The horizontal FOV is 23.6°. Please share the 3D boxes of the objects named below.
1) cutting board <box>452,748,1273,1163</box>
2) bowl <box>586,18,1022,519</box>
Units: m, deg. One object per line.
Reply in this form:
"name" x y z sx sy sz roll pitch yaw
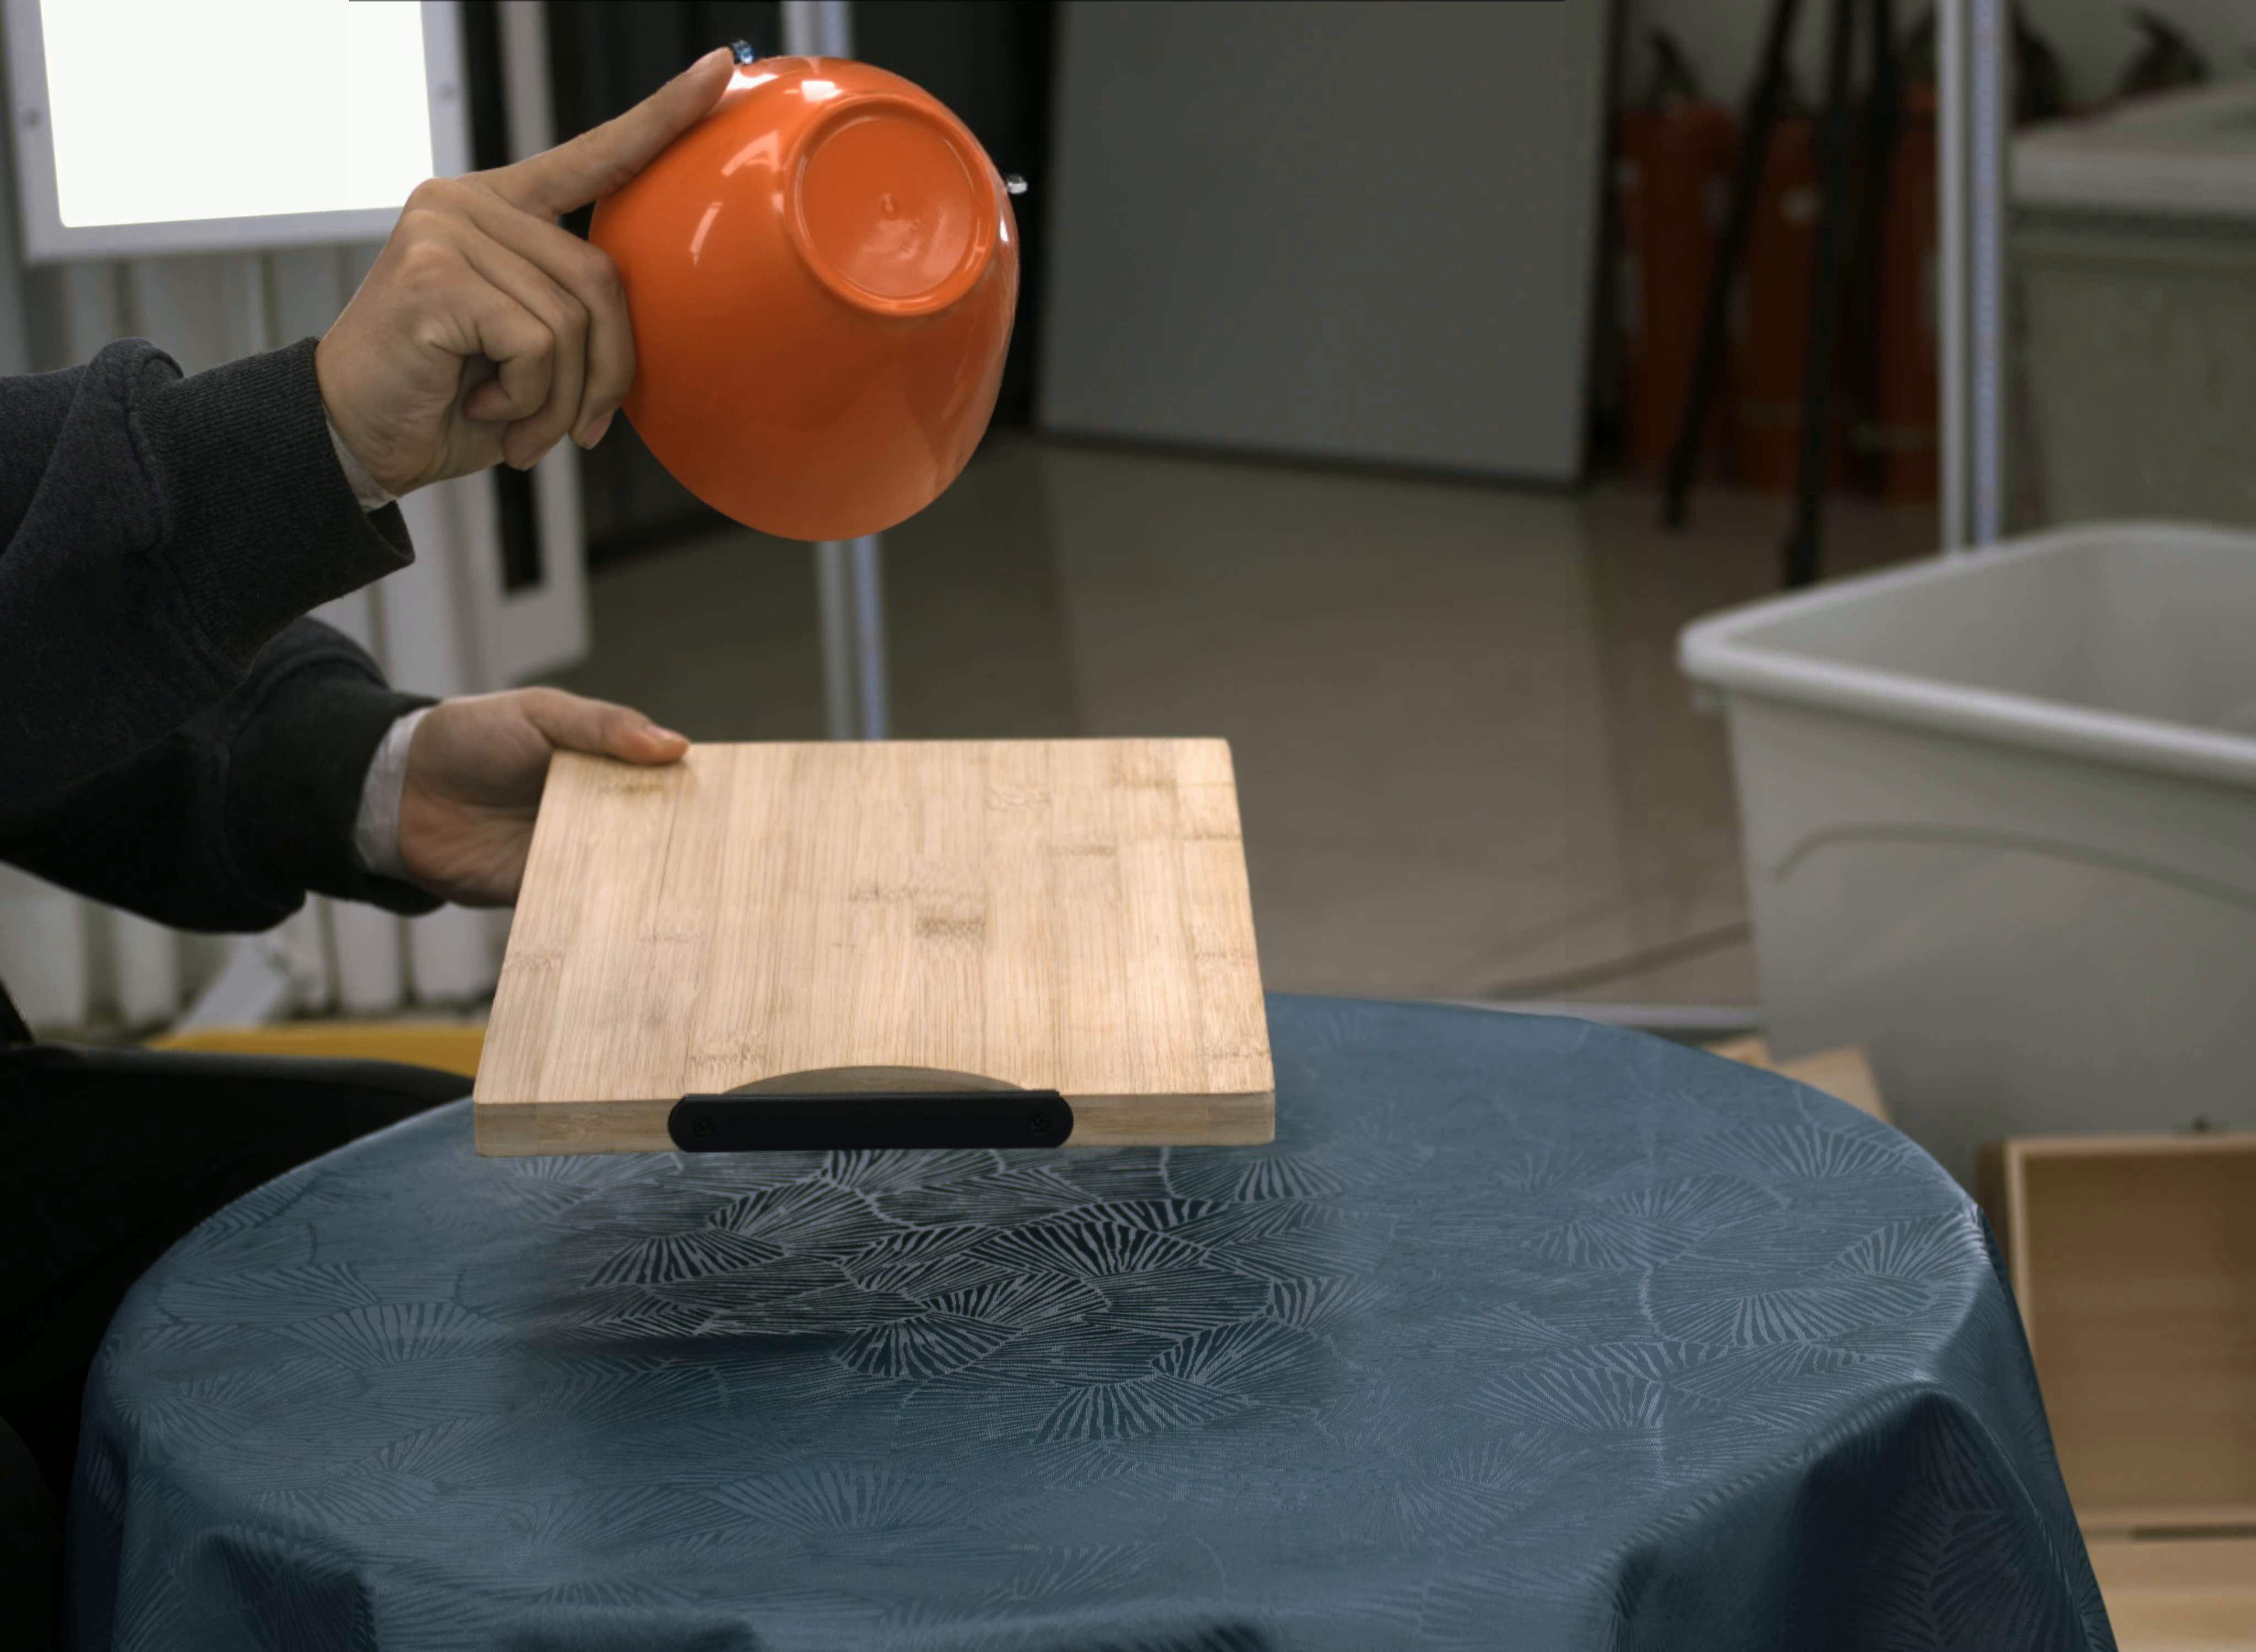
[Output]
"cutting board" -0.079 0.036 1.738 0.247 0.024 0.349 -2 18 -1
"bowl" -0.080 -0.173 1.592 0.145 0.150 0.105 -9 -5 -25
